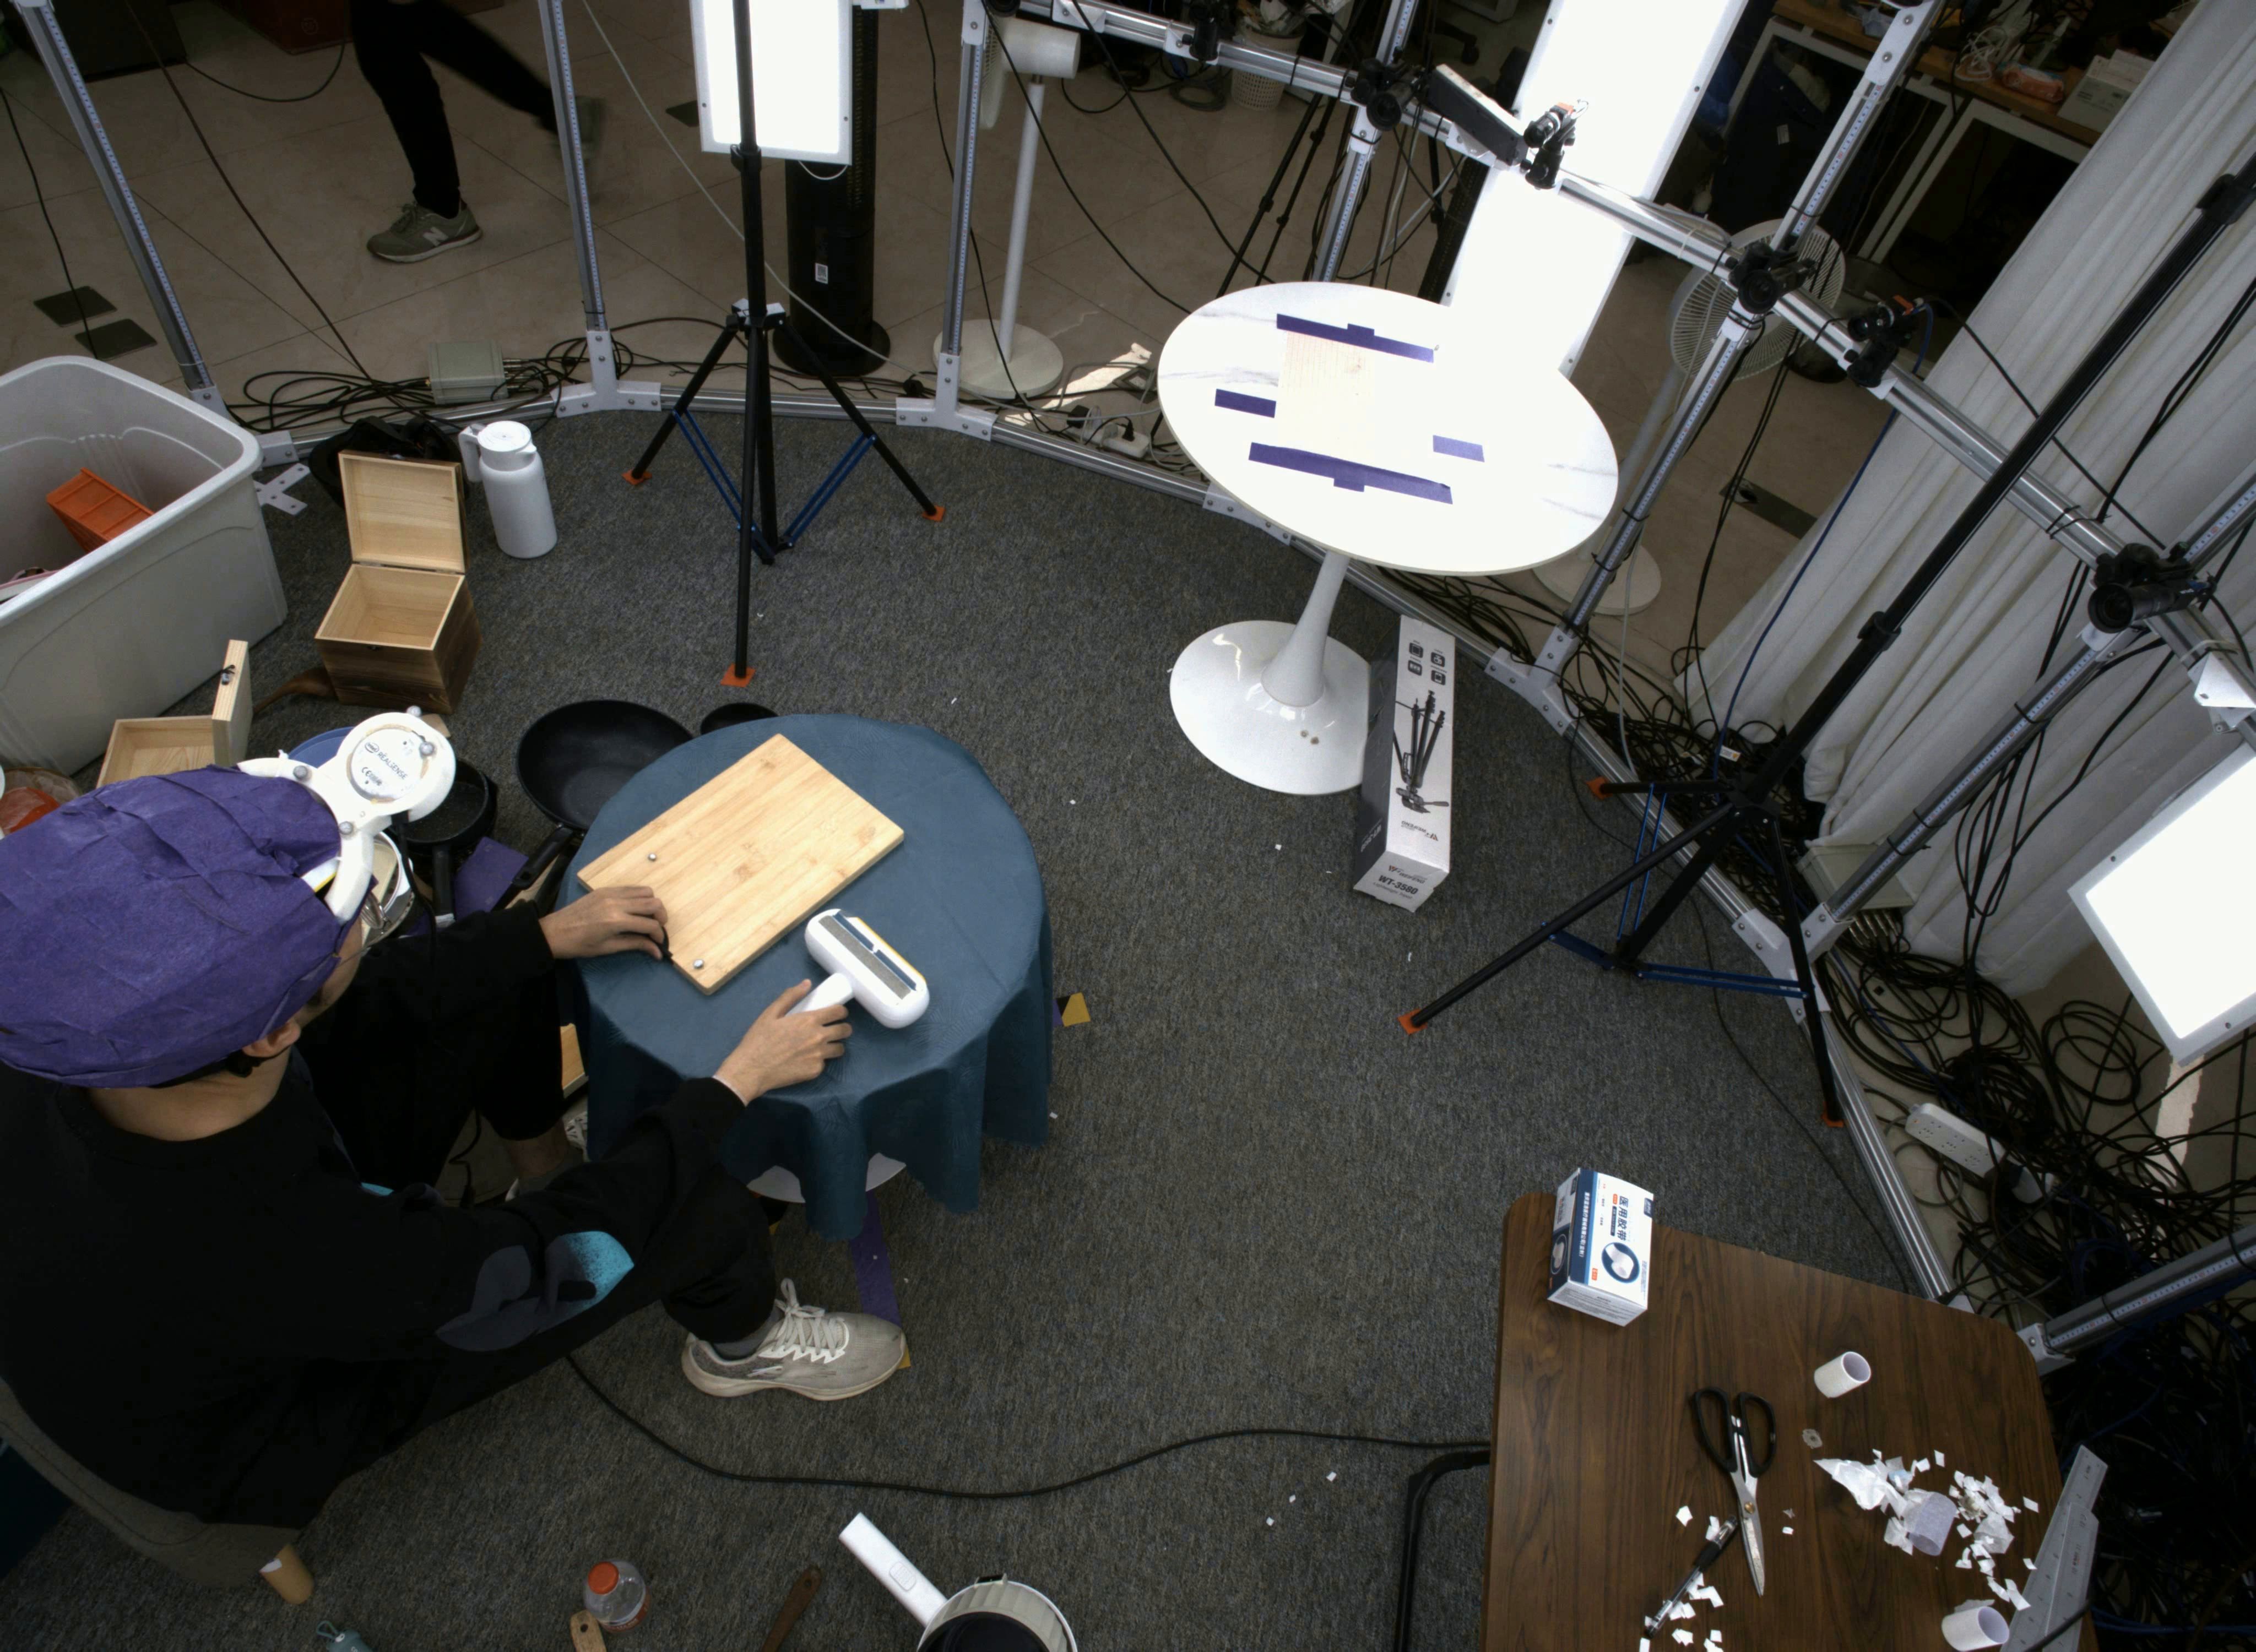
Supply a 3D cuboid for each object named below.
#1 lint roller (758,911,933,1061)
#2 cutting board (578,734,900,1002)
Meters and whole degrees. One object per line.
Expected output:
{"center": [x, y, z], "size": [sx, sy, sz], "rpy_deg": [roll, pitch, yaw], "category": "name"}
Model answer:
{"center": [-0.357, 0.205, 1.553], "size": [0.193, 0.076, 0.187], "rpy_deg": [-32, 62, -30], "category": "lint roller"}
{"center": [-0.498, 0.041, 1.670], "size": [0.246, 0.024, 0.348], "rpy_deg": [37, 54, 13], "category": "cutting board"}
